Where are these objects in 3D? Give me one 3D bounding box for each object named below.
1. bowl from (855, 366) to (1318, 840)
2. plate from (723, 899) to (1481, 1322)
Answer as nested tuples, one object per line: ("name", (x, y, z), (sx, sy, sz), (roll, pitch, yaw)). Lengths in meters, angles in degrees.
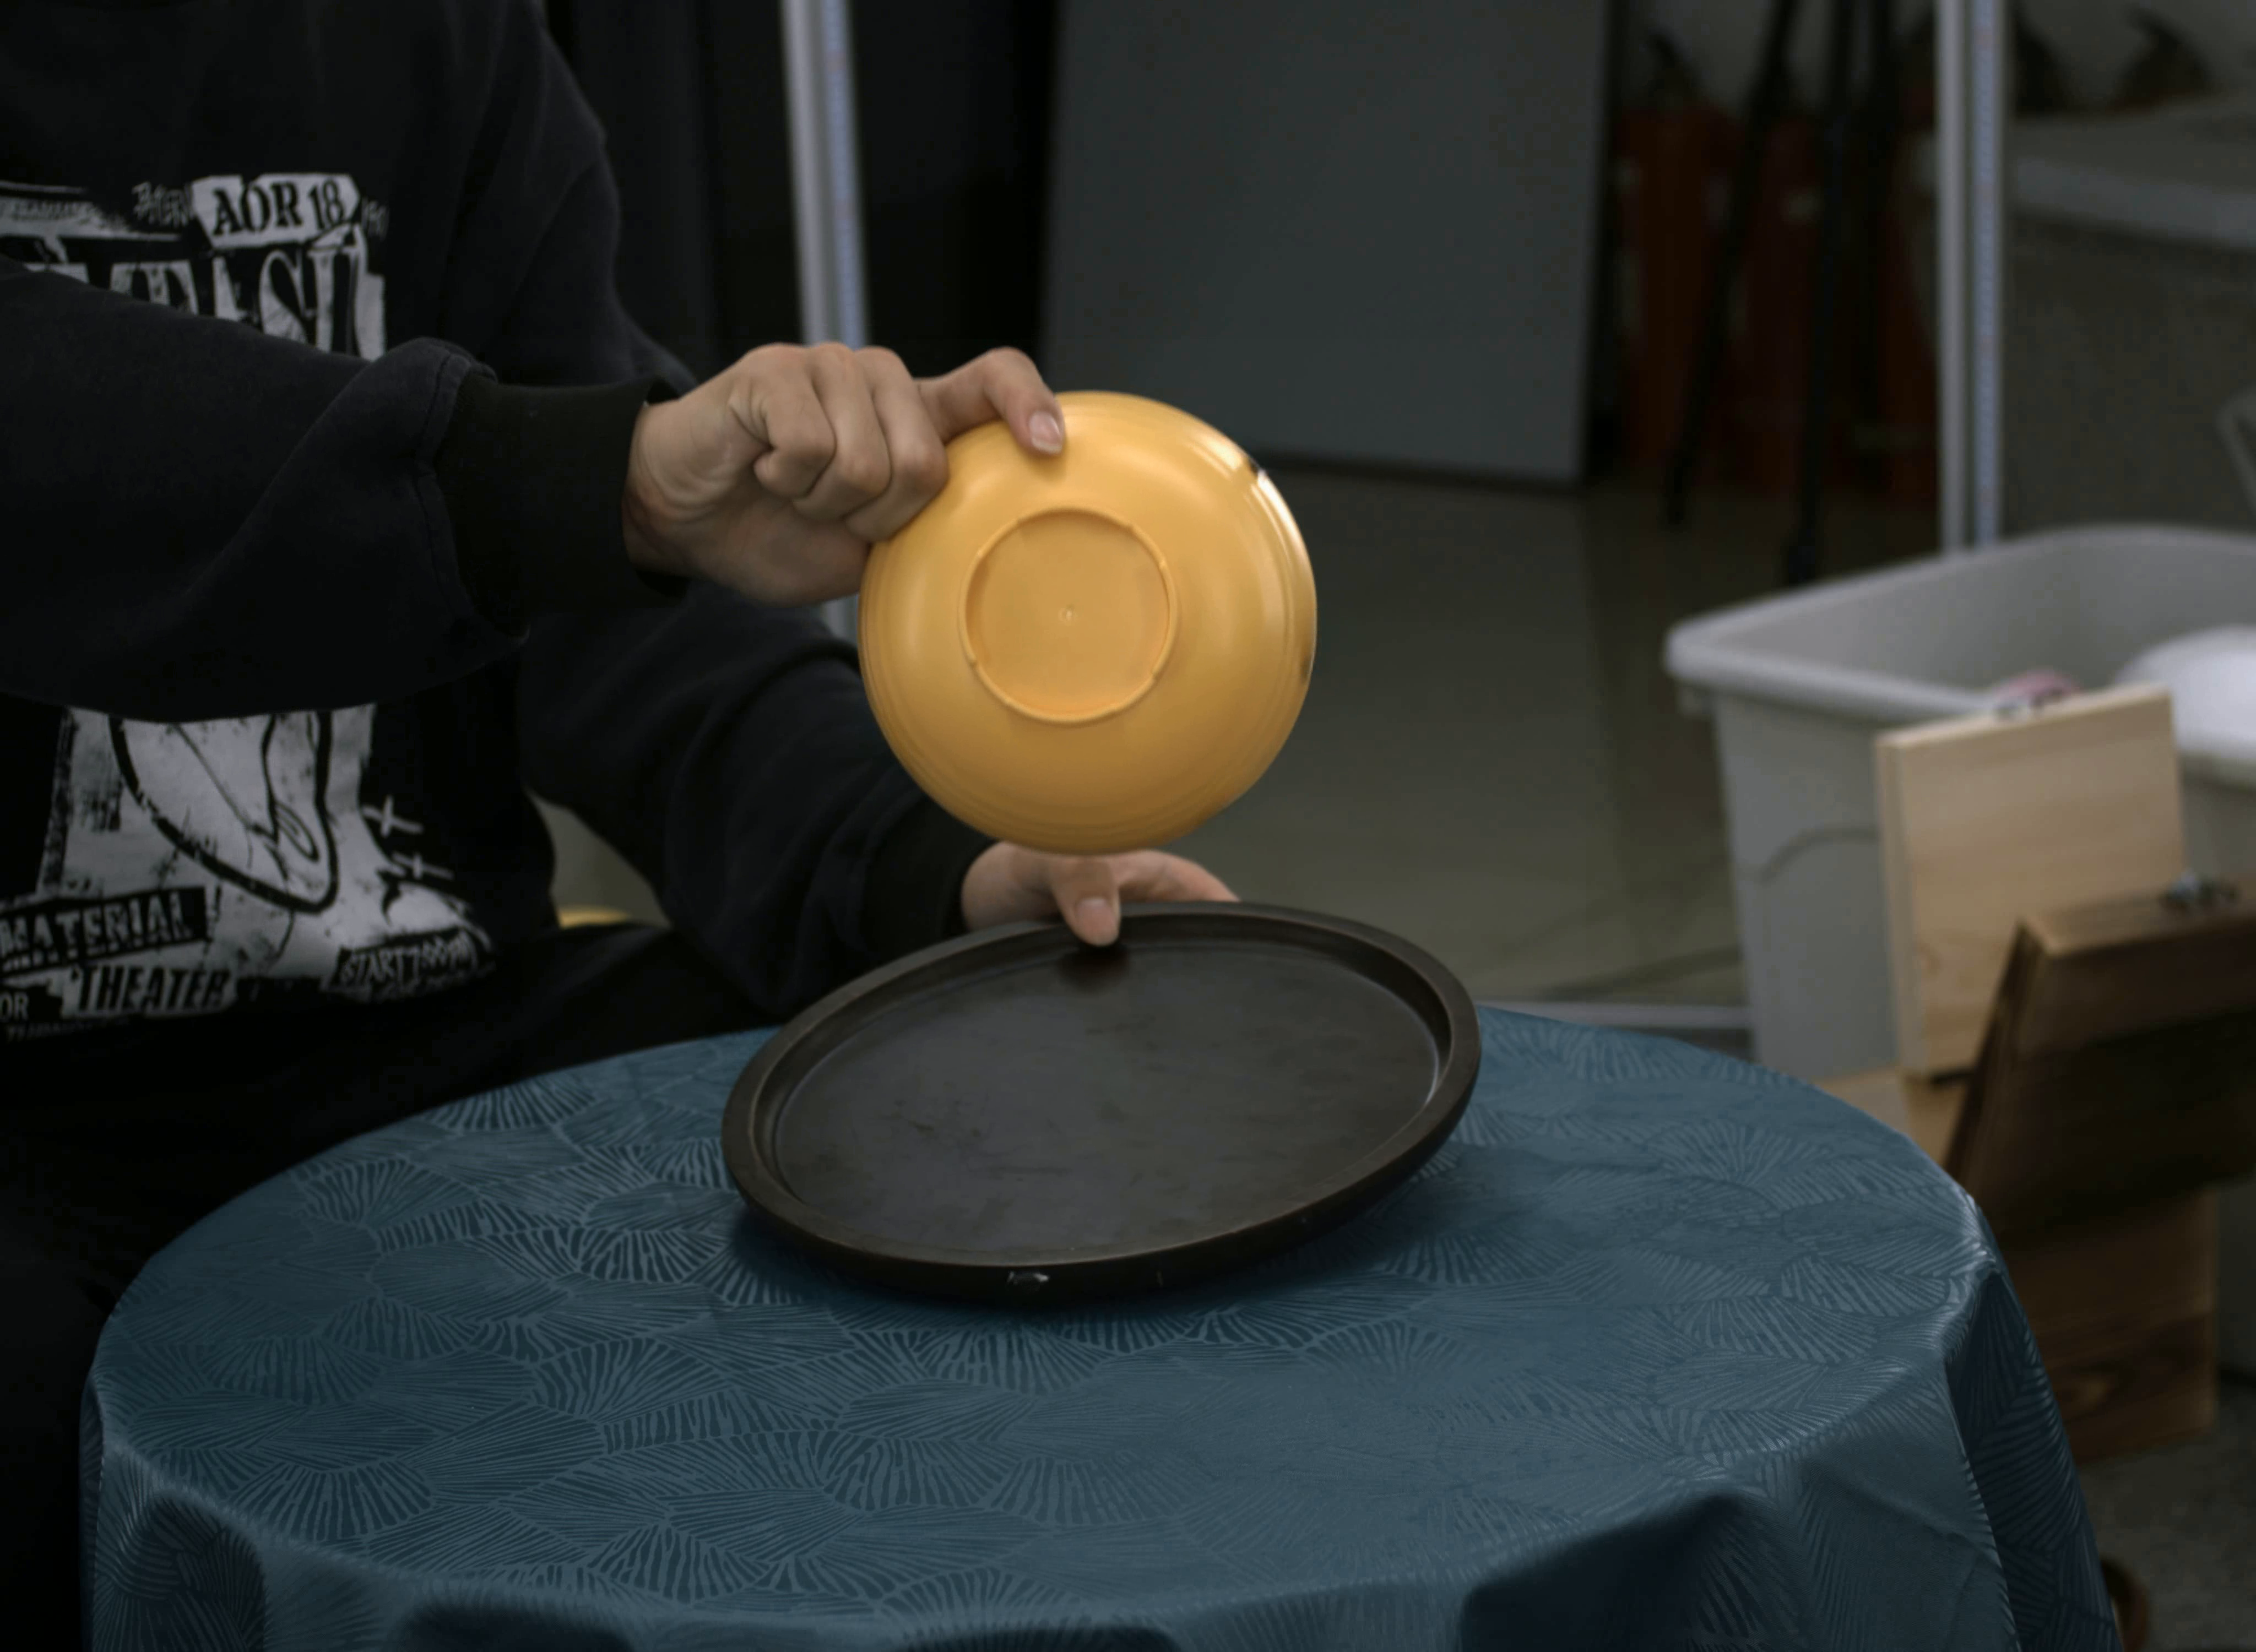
("bowl", (-0.014, -0.070, 1.631), (0.144, 0.147, 0.060), (-2, -3, 4))
("plate", (-0.007, 0.090, 1.762), (0.252, 0.029, 0.256), (-10, 25, 4))
